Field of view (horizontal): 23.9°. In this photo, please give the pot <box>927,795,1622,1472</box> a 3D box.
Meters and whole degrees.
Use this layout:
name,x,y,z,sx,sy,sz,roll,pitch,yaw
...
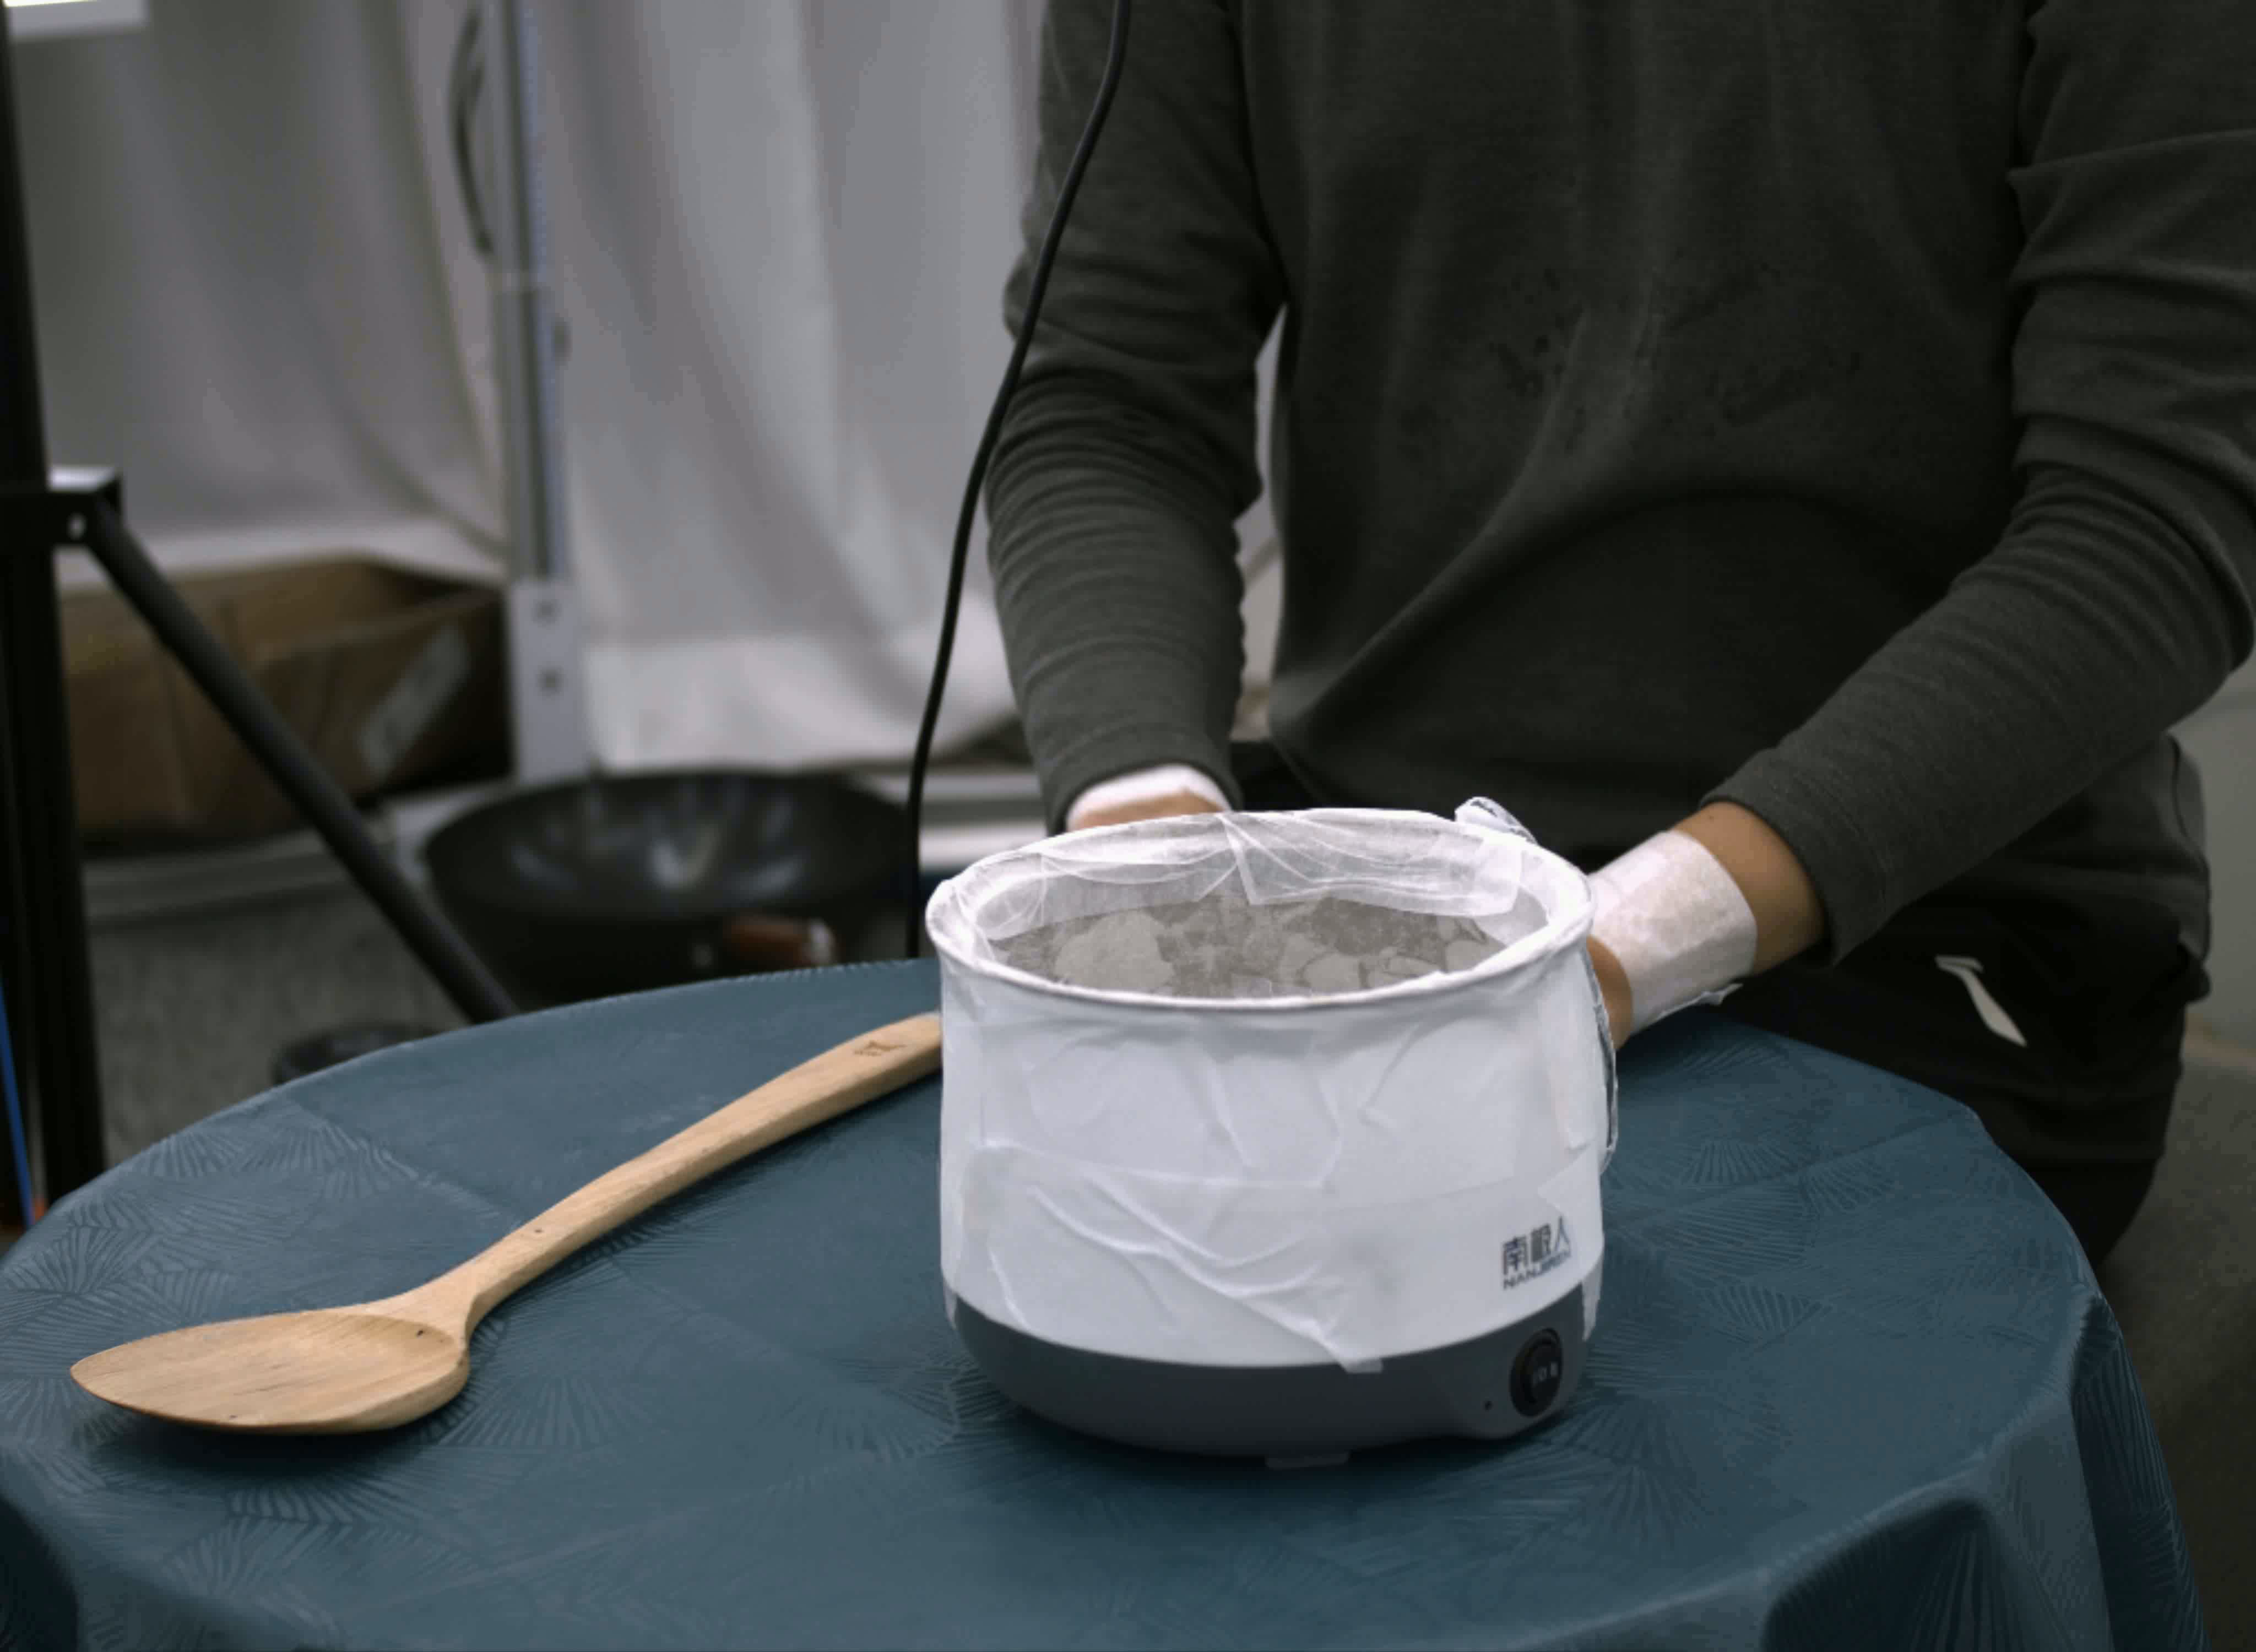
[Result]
name,x,y,z,sx,sy,sz,roll,pitch,yaw
pot,0.055,0.074,1.422,0.182,0.136,0.229,11,20,38

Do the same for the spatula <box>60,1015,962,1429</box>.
name,x,y,z,sx,sy,sz,roll,pitch,yaw
spatula,-0.157,0.109,1.550,0.097,0.018,0.384,8,19,28
